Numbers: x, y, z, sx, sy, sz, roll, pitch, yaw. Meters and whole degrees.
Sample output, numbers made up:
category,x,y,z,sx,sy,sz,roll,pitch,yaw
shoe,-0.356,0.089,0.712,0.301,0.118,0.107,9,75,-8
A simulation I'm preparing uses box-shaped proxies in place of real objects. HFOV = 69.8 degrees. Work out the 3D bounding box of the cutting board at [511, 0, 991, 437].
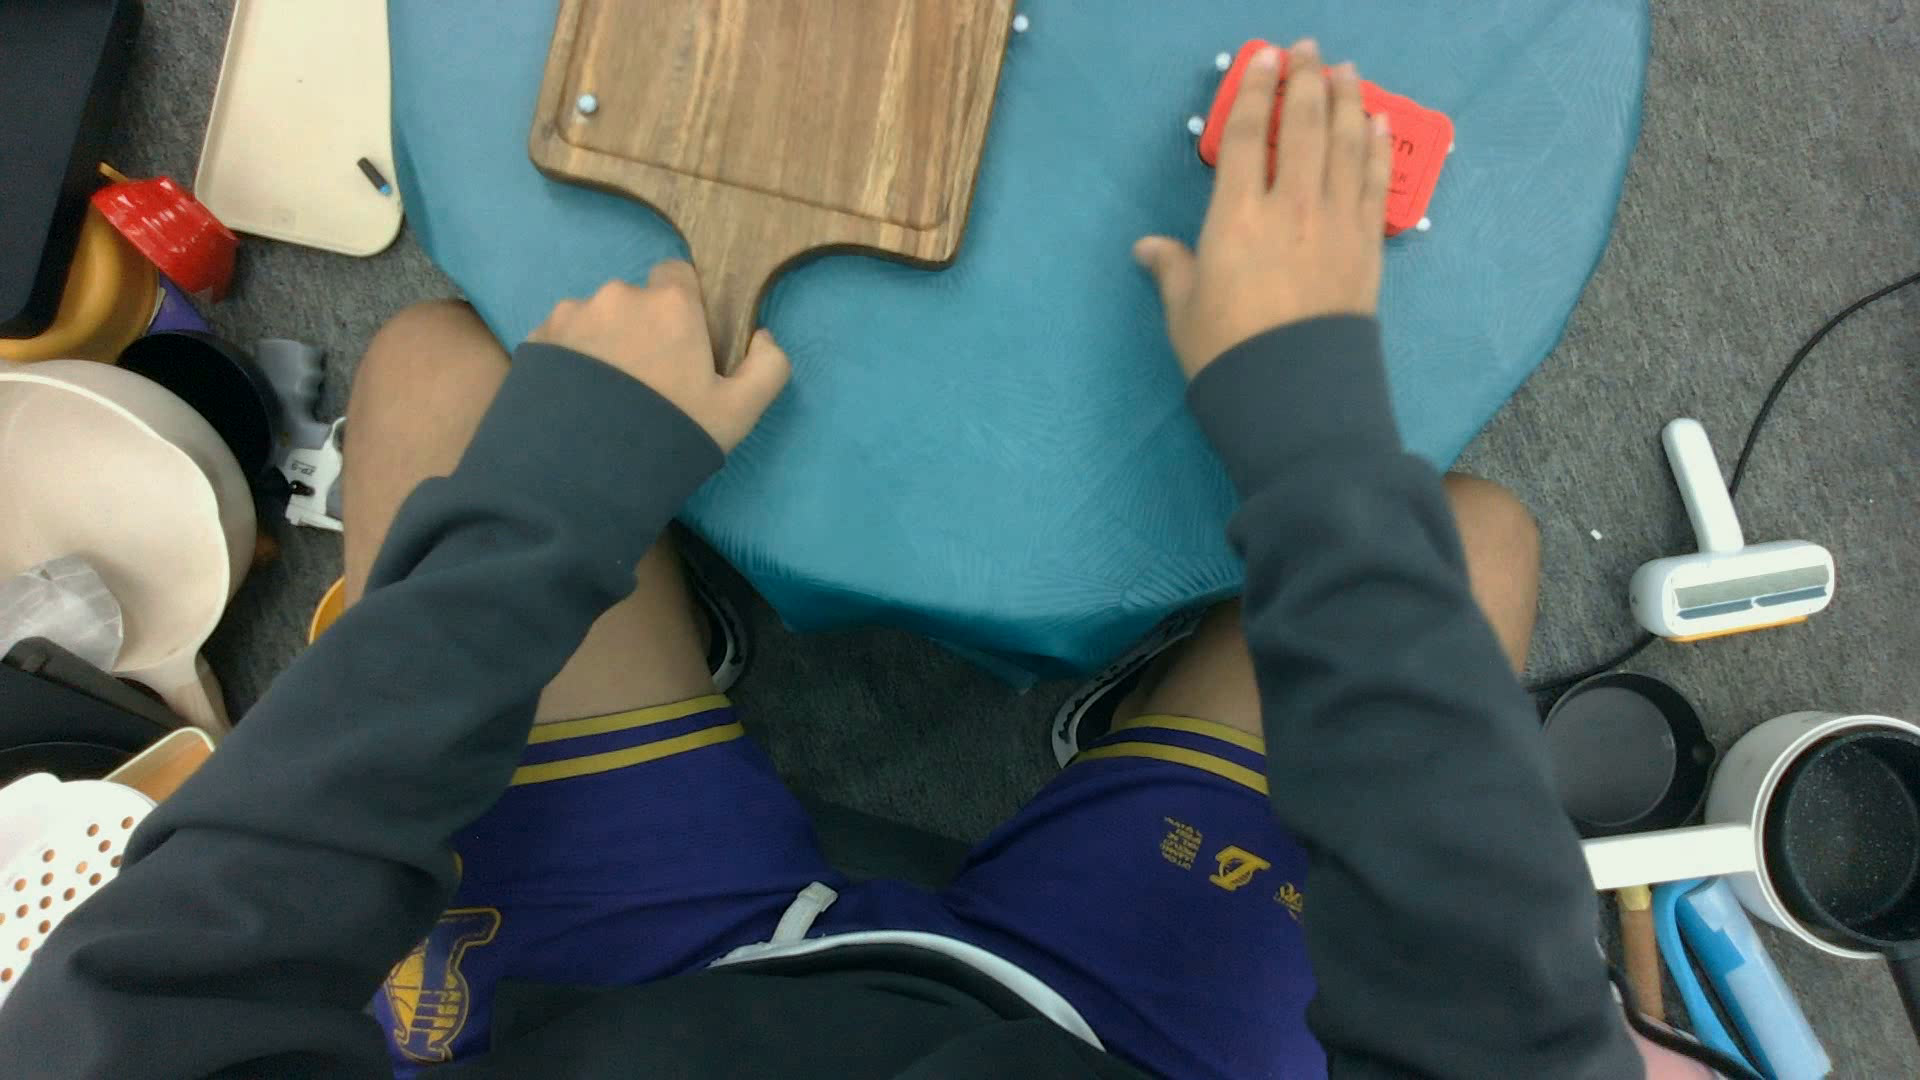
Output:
category,x,y,z,sx,sy,sz,roll,pitch,yaw
cutting board,-0.092,-0.221,0.626,0.201,0.023,0.352,11,87,-5

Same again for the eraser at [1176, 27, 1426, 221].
category,x,y,z,sx,sy,sz,roll,pitch,yaw
eraser,0.160,-0.194,0.646,0.108,0.023,0.059,20,87,-5
